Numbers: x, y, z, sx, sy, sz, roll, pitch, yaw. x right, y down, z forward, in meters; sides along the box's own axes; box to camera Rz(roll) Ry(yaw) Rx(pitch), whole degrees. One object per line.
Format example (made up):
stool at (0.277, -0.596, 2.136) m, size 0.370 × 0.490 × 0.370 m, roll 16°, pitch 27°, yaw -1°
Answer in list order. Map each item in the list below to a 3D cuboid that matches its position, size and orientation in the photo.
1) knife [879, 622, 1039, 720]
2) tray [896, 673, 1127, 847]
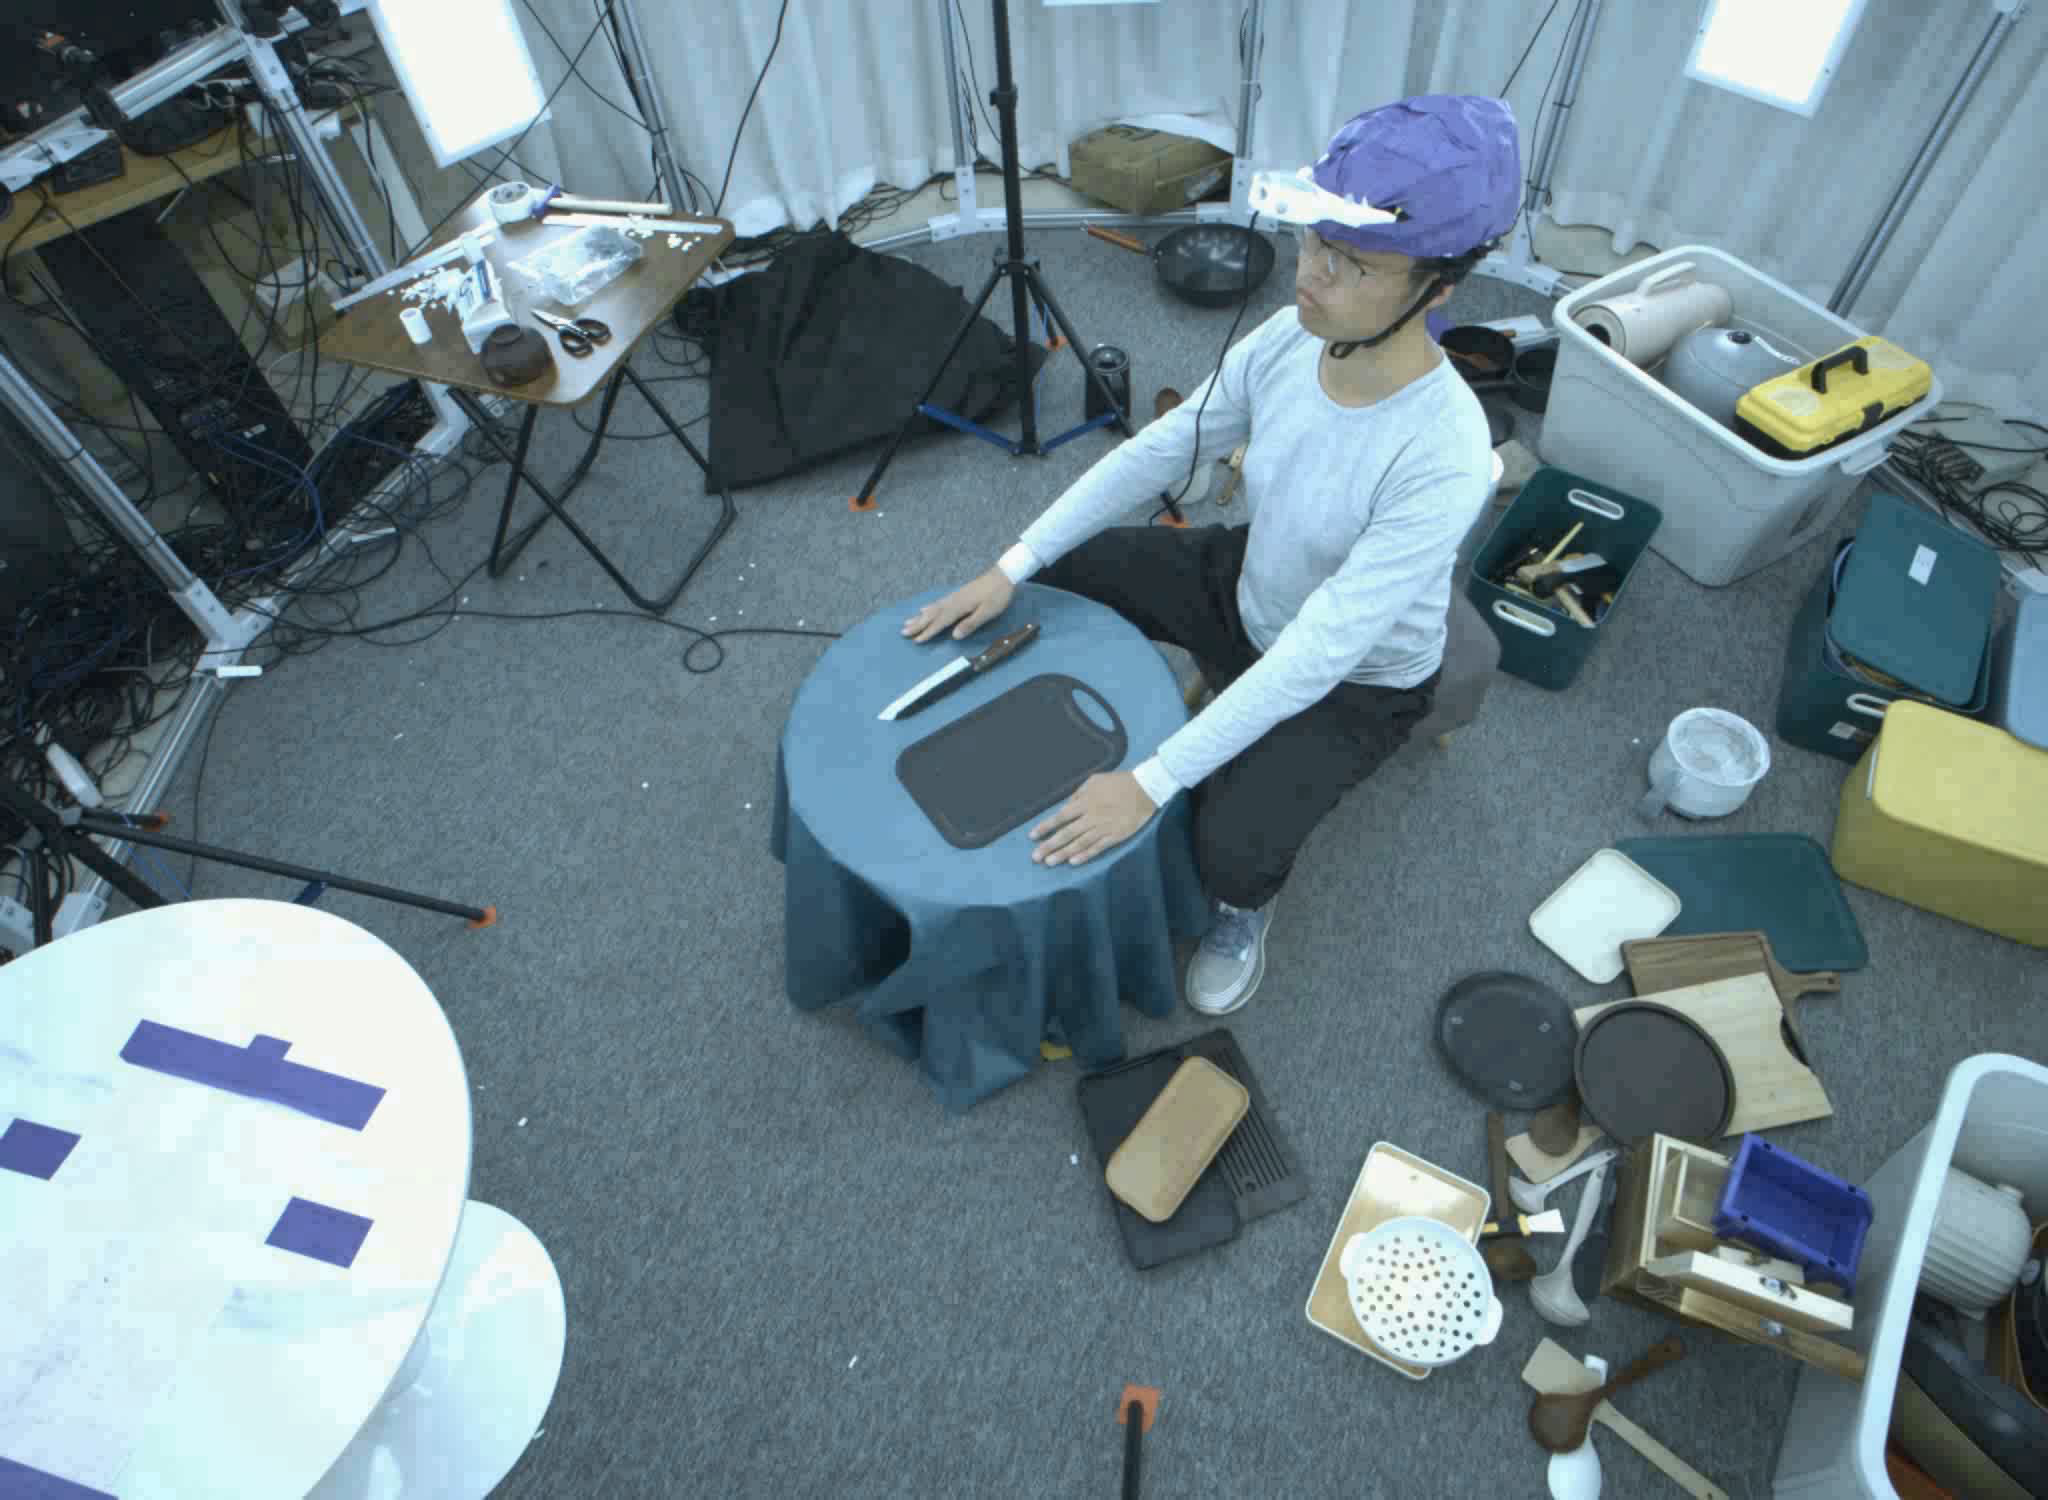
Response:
knife at (-0.099, -0.119, 1.874) m, size 0.291 × 0.020 × 0.049 m, roll -32°, pitch 54°, yaw -17°
tray at (-0.012, 0.003, 1.790) m, size 0.328 × 0.010 × 0.207 m, roll -29°, pitch 59°, yaw -18°
